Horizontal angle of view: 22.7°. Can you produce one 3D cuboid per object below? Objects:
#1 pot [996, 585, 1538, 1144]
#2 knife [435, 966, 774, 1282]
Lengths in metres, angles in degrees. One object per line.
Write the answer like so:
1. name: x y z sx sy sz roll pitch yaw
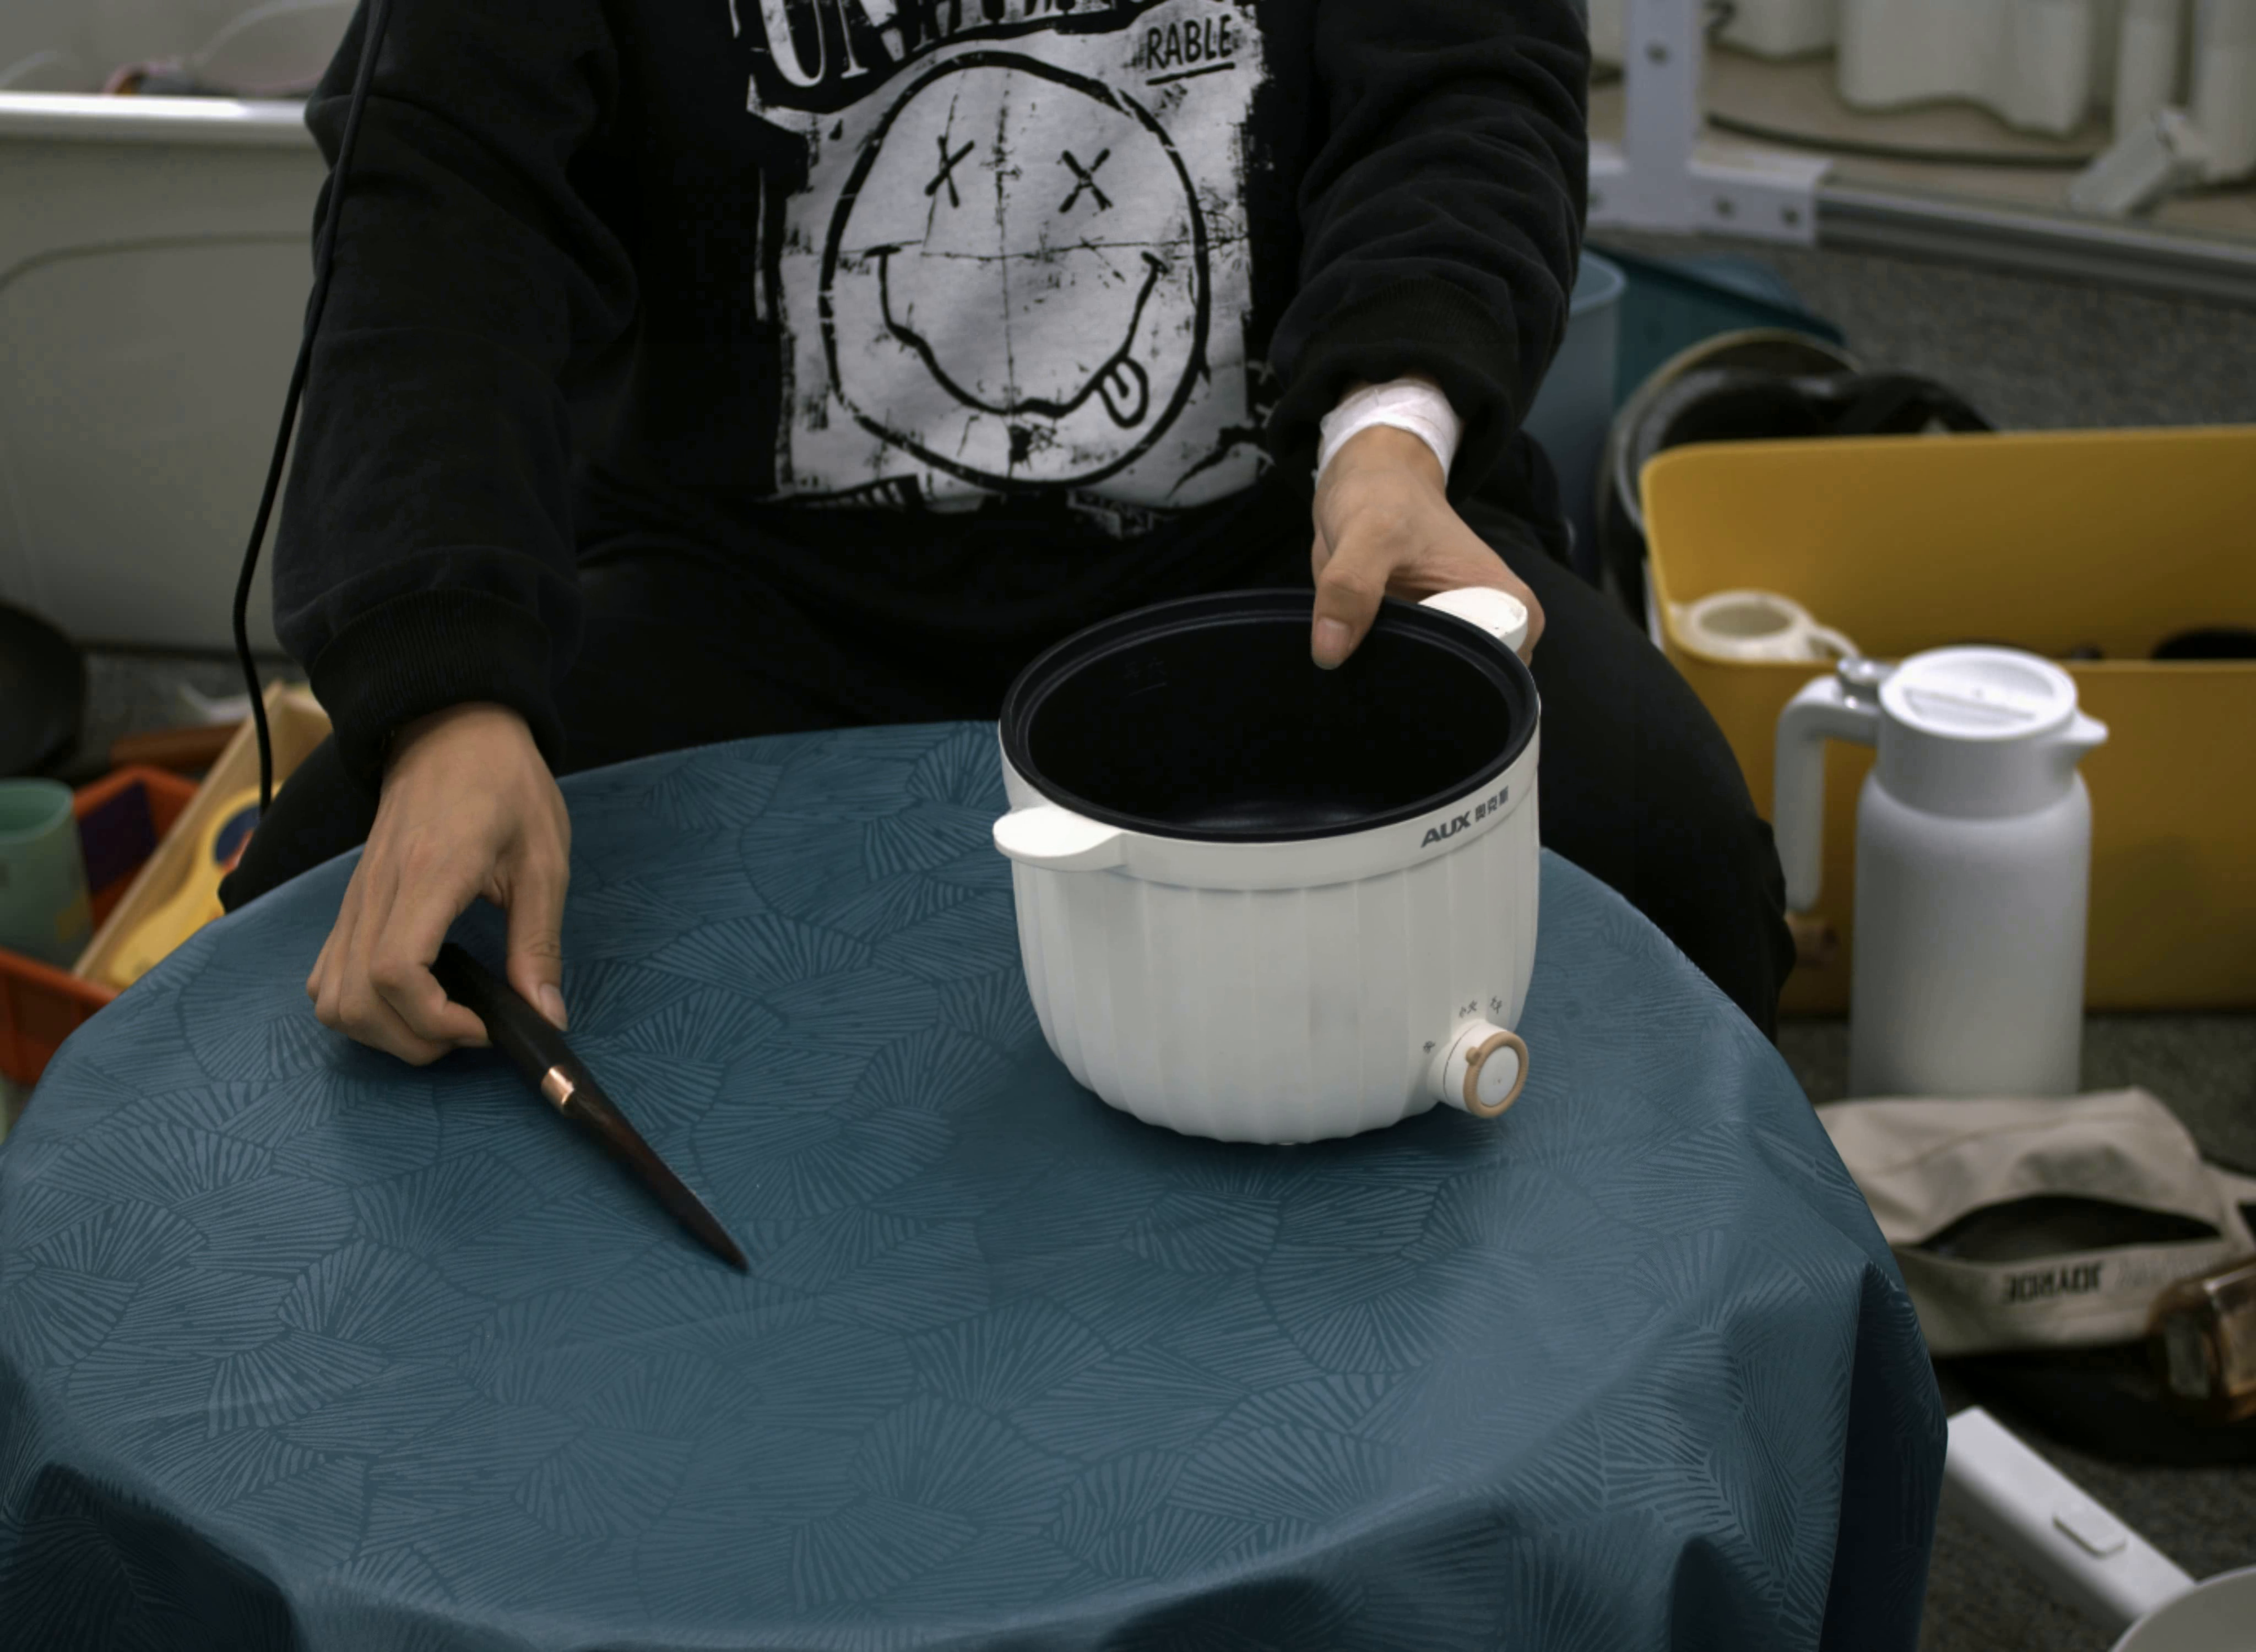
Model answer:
1. pot: 0.055 0.019 1.903 0.190 0.141 0.243 18 35 41
2. knife: -0.180 0.100 1.904 0.026 0.017 0.226 21 11 -40
